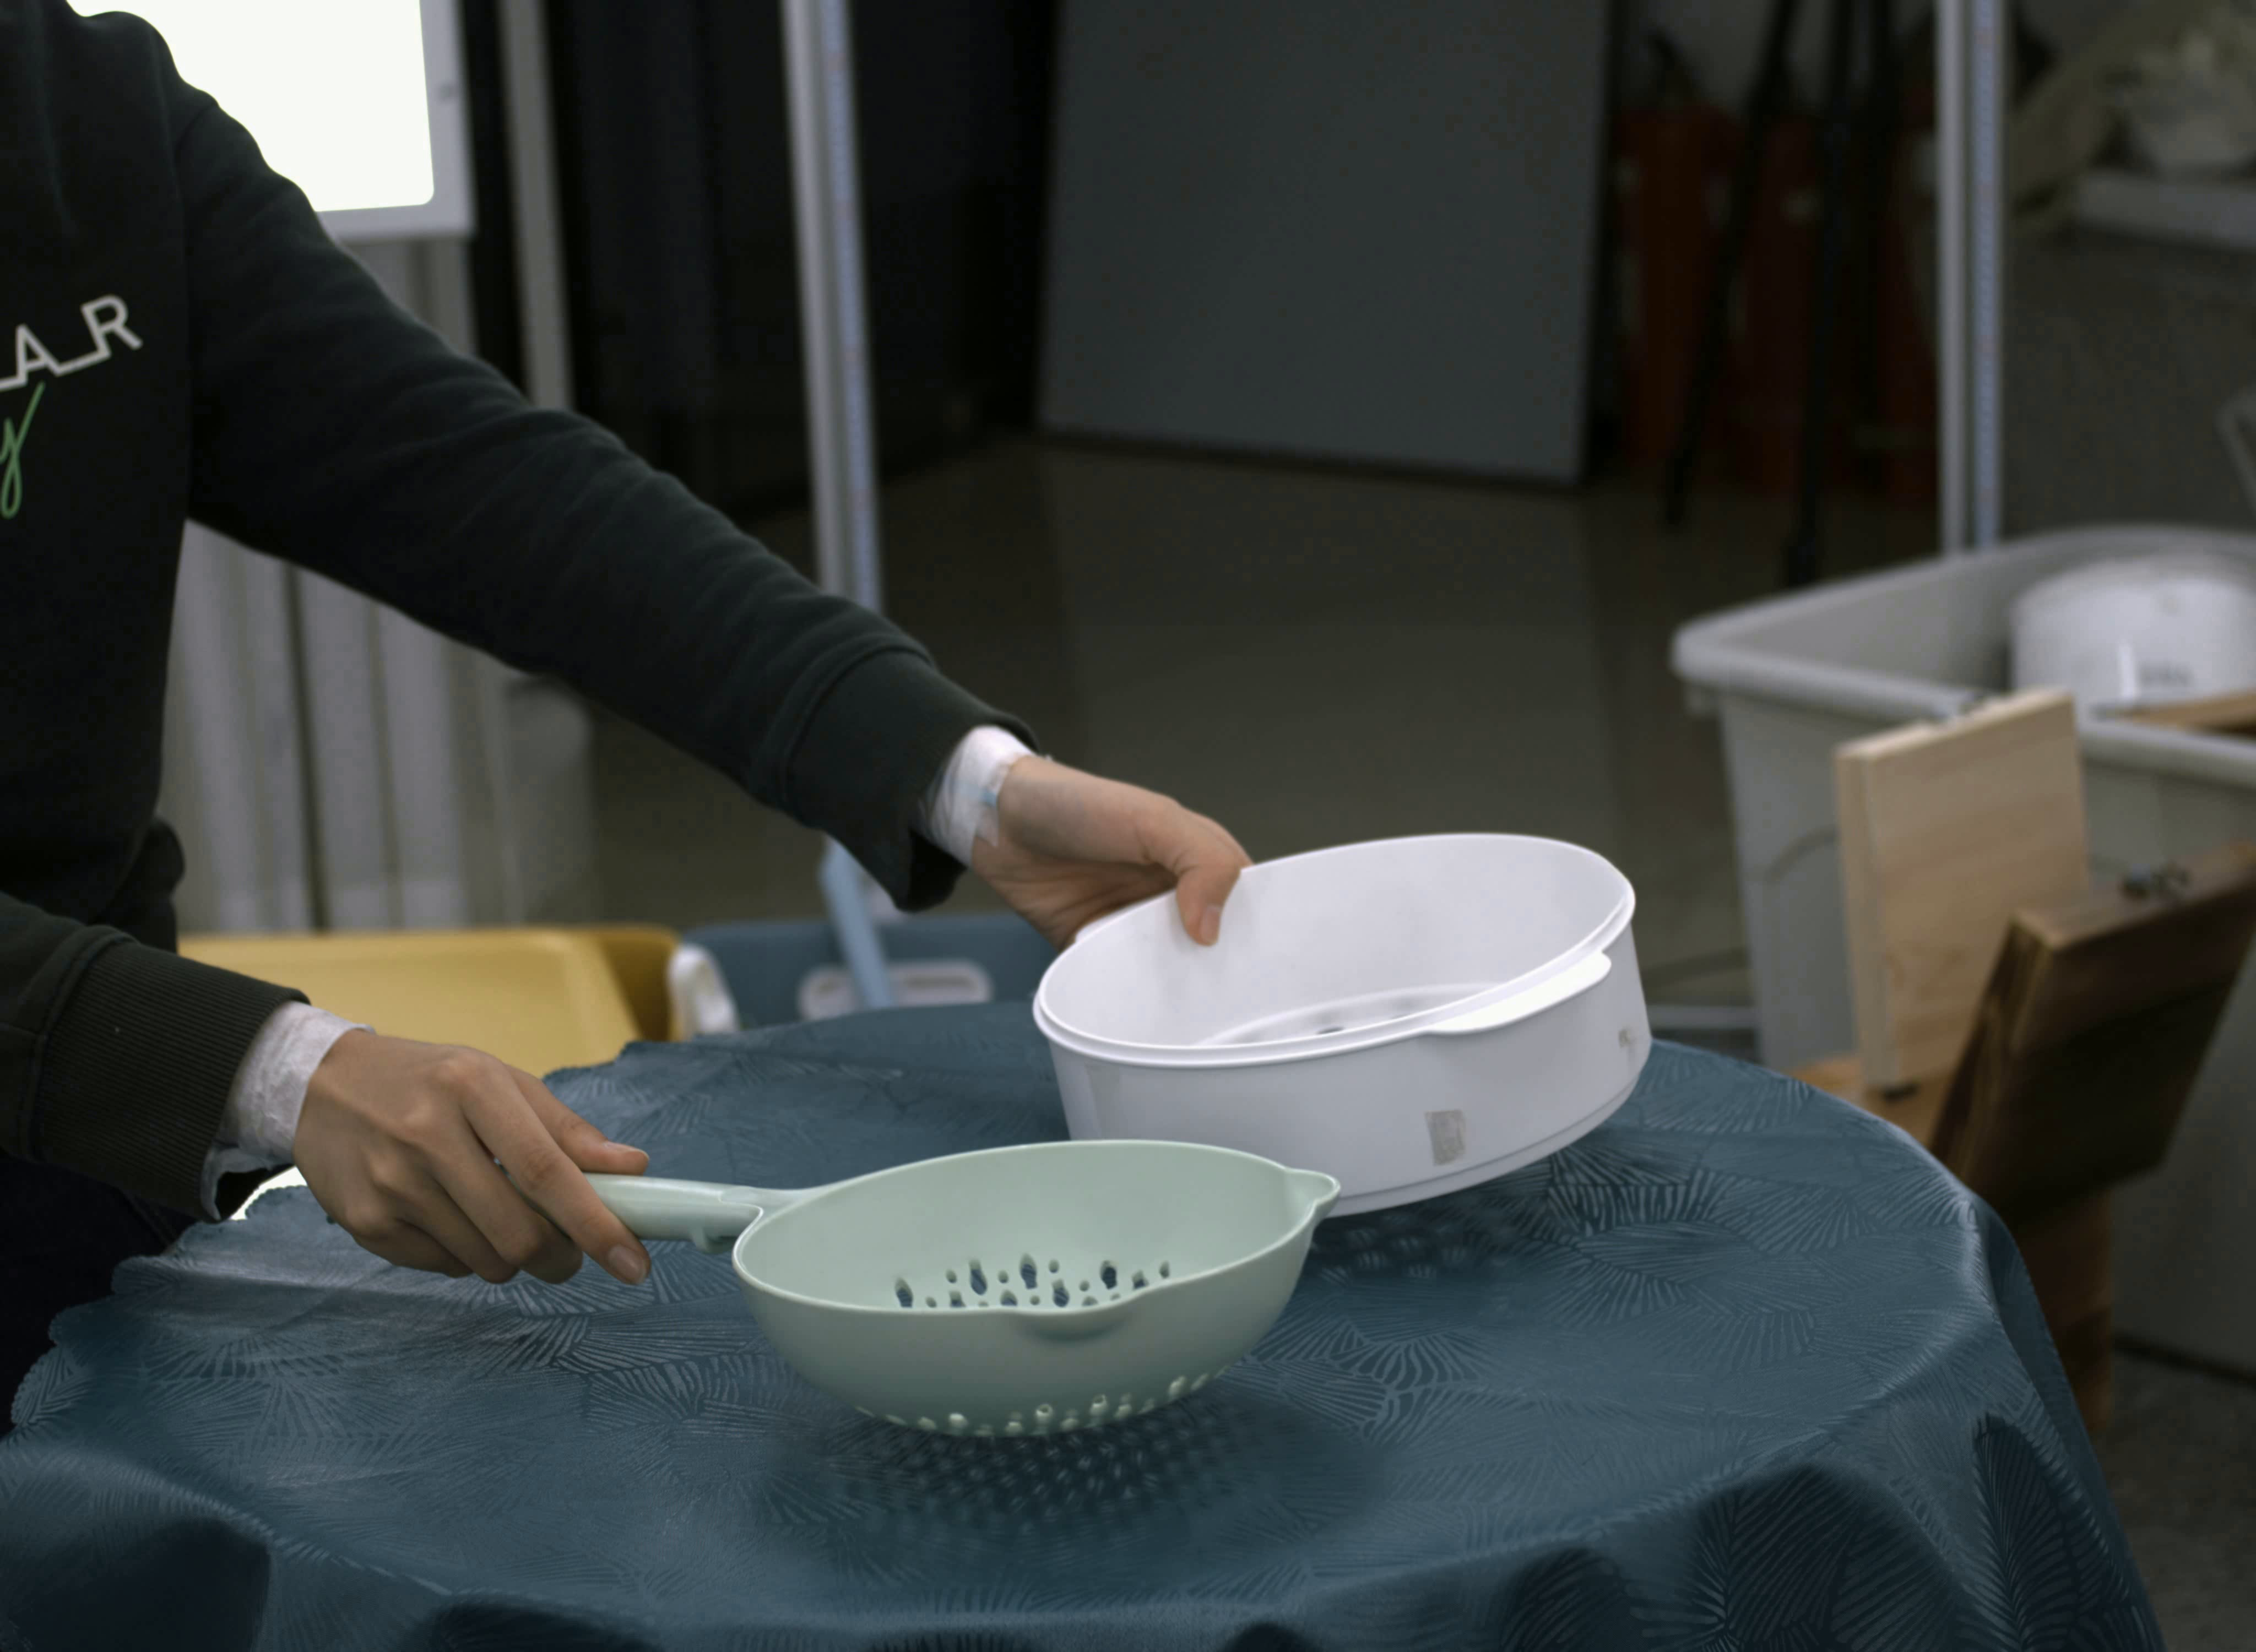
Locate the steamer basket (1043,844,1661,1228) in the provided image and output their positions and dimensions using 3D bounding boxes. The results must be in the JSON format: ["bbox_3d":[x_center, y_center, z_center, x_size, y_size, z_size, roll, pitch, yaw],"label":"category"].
[{"bbox_3d":[0.075,0.069,1.750,0.198,0.070,0.233,-22,17,-32],"label":"steamer basket"}]

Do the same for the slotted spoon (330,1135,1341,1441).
[{"bbox_3d":[-0.106,0.122,1.604,0.361,0.076,0.166,12,19,35],"label":"slotted spoon"}]
